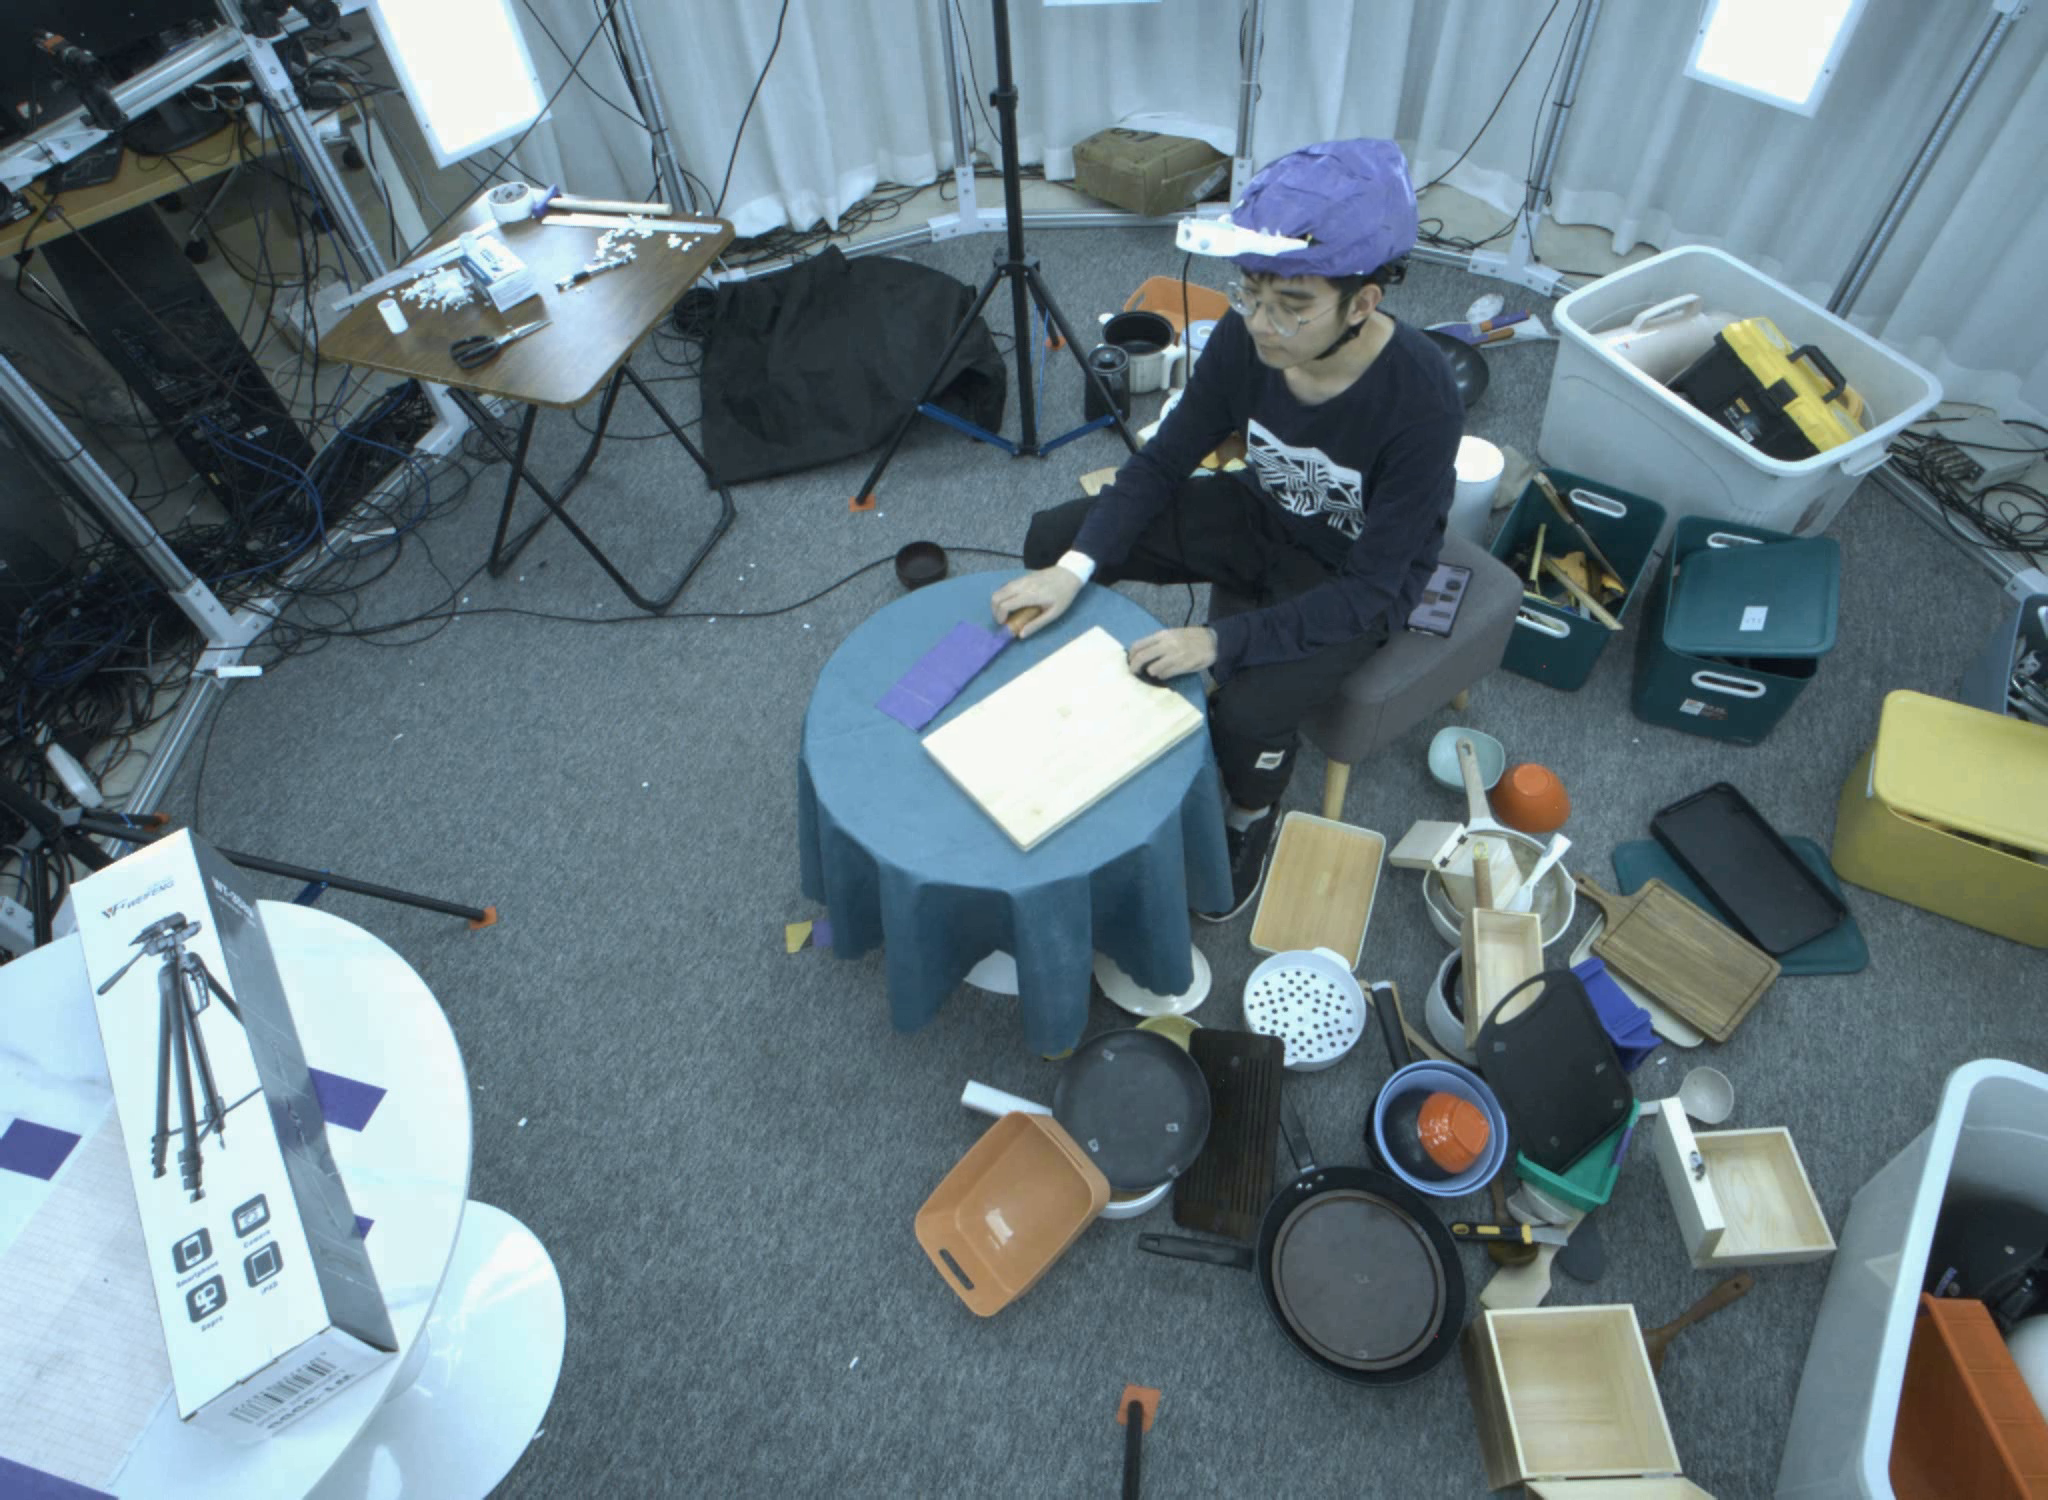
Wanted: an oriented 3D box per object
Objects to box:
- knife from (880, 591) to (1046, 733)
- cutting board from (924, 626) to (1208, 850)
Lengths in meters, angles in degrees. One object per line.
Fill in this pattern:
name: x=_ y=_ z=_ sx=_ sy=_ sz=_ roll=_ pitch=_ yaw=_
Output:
knife: x=-0.096 y=-0.153 z=1.890 sx=0.102 sy=0.032 sz=0.317 roll=32 pitch=61 yaw=22
cutting board: x=0.059 y=-0.028 z=1.803 sx=0.351 sy=0.024 sz=0.246 roll=-35 pitch=61 yaw=-22
